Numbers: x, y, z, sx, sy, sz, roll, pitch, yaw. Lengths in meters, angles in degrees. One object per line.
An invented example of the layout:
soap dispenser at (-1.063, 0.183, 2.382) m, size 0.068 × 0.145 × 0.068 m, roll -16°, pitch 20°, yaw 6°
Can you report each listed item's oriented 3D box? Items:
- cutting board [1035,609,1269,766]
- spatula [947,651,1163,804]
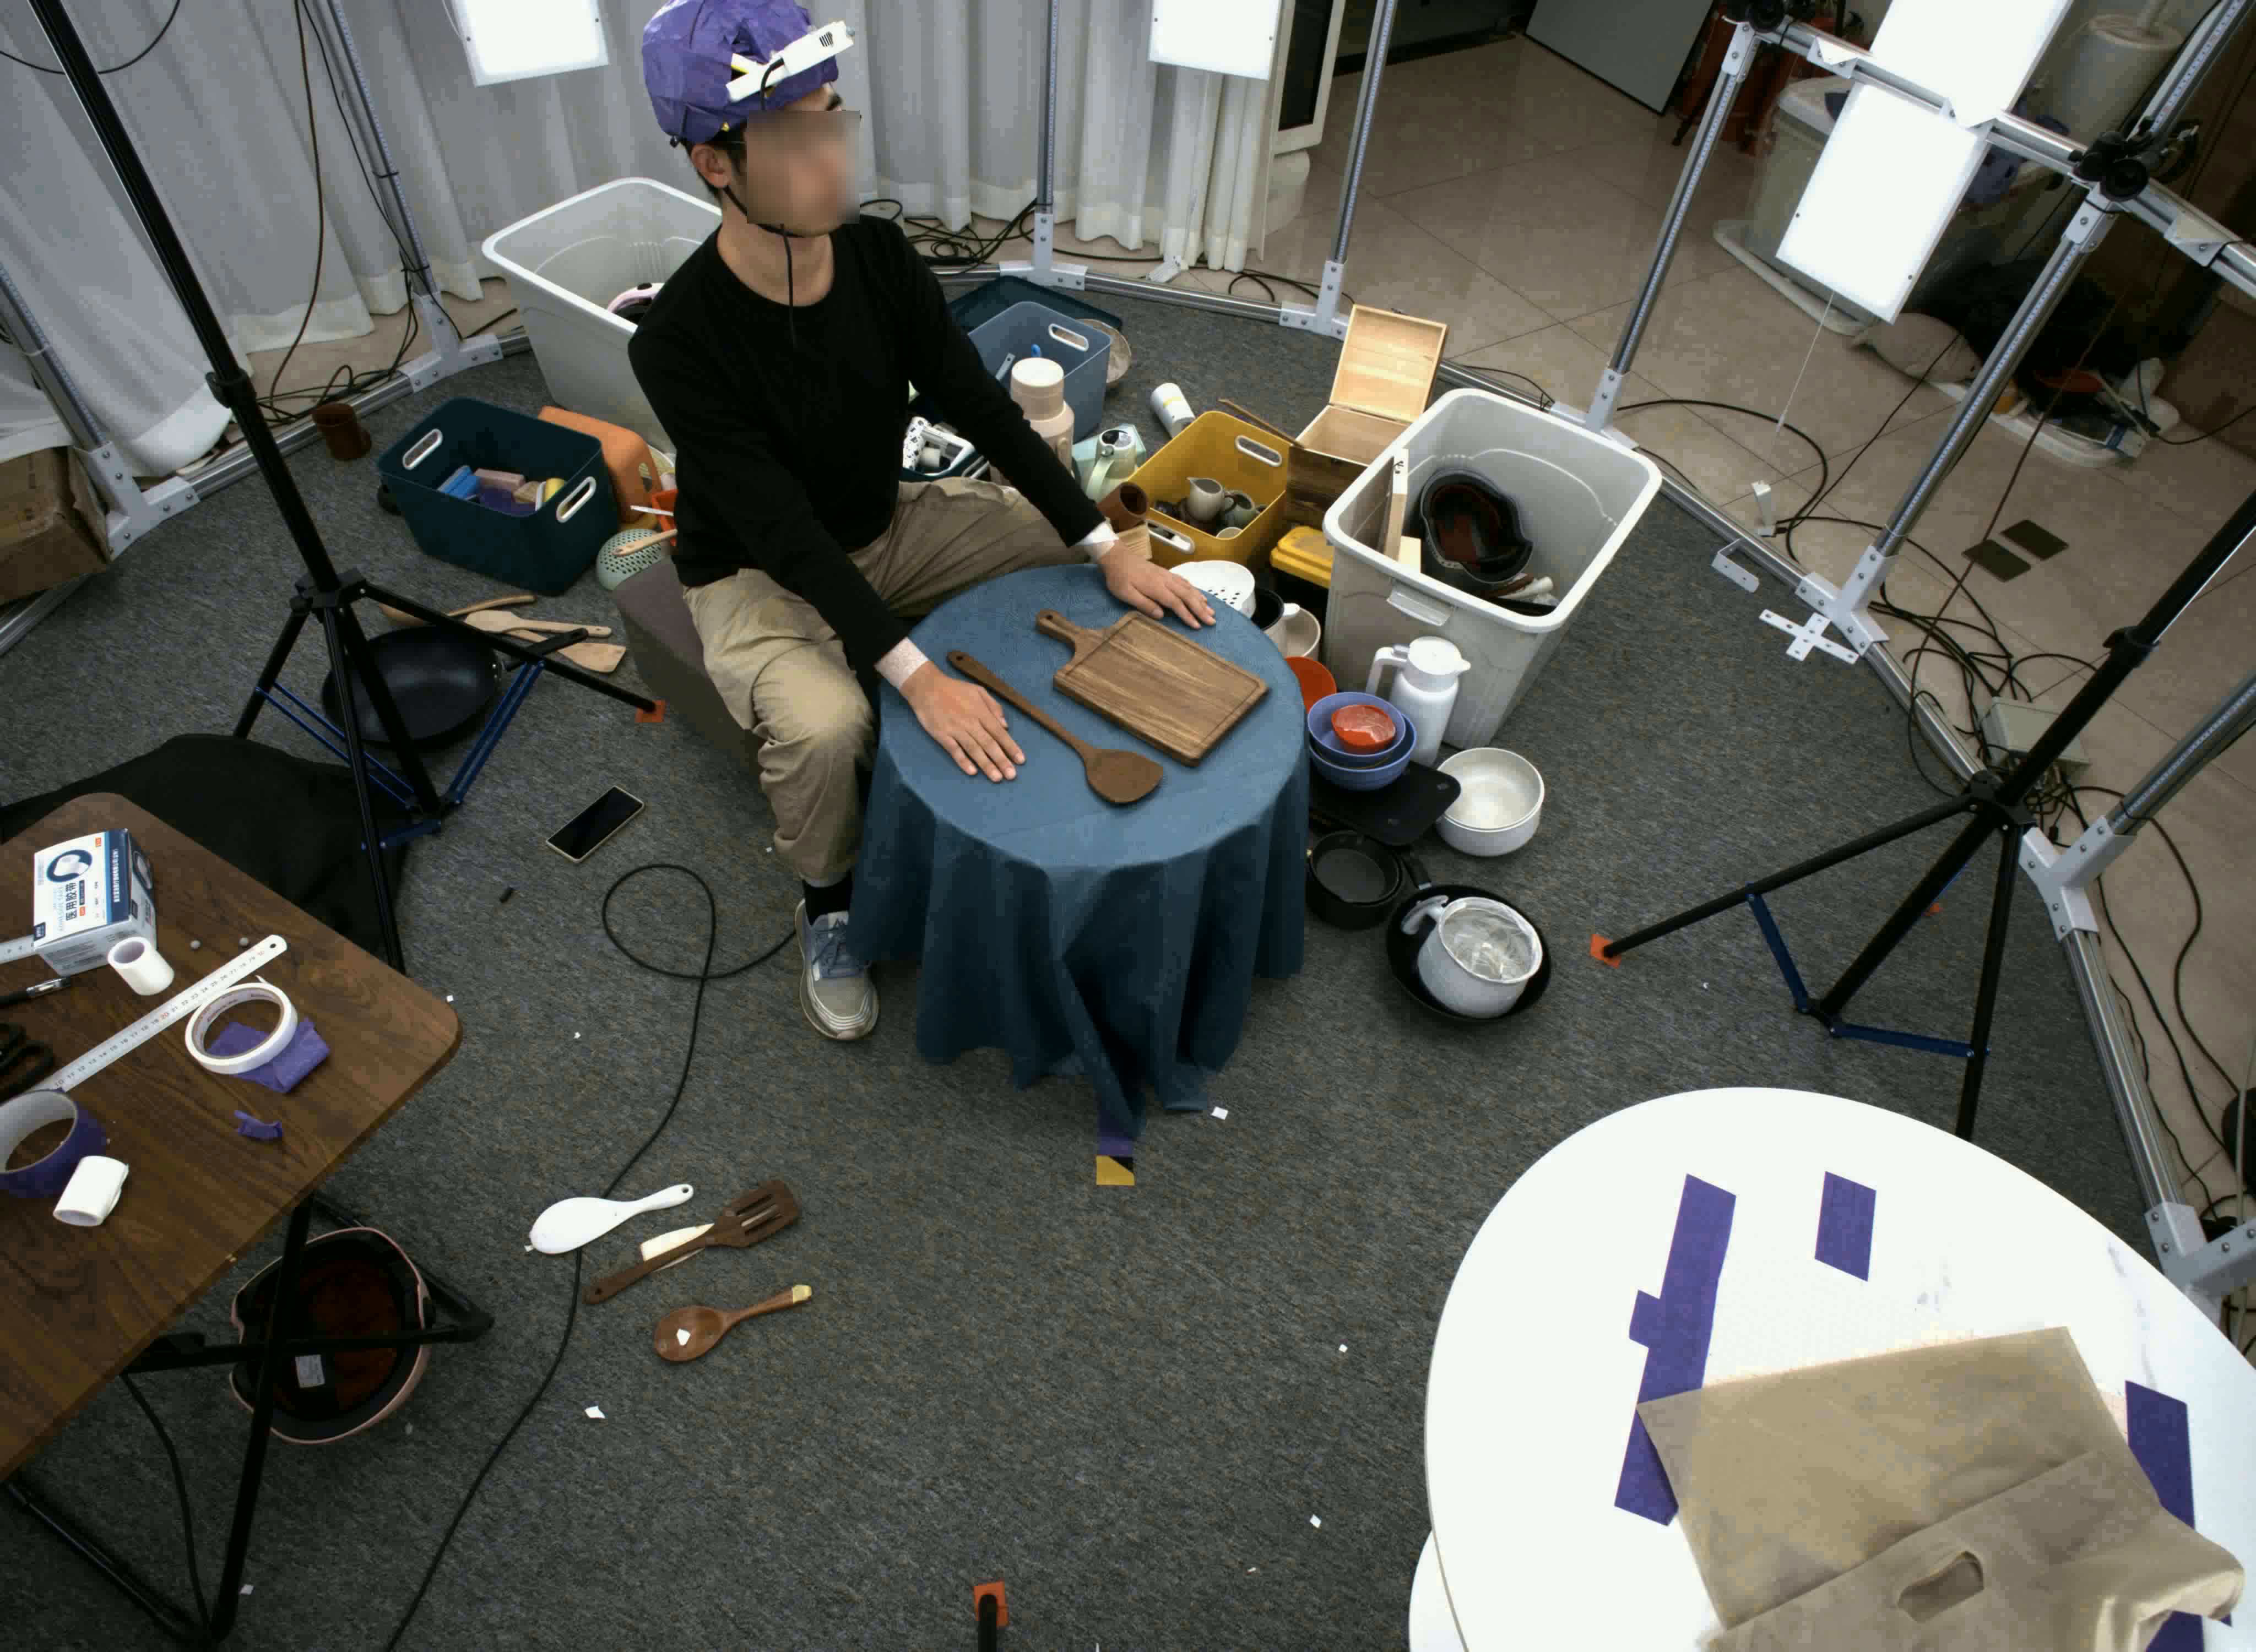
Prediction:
cutting board at (0.008, -0.227, 1.854) m, size 0.356 × 0.022 × 0.203 m, roll 31°, pitch 54°, yaw 21°
spatula at (-0.116, -0.148, 1.781) m, size 0.391 × 0.015 × 0.097 m, roll 36°, pitch 56°, yaw 25°
